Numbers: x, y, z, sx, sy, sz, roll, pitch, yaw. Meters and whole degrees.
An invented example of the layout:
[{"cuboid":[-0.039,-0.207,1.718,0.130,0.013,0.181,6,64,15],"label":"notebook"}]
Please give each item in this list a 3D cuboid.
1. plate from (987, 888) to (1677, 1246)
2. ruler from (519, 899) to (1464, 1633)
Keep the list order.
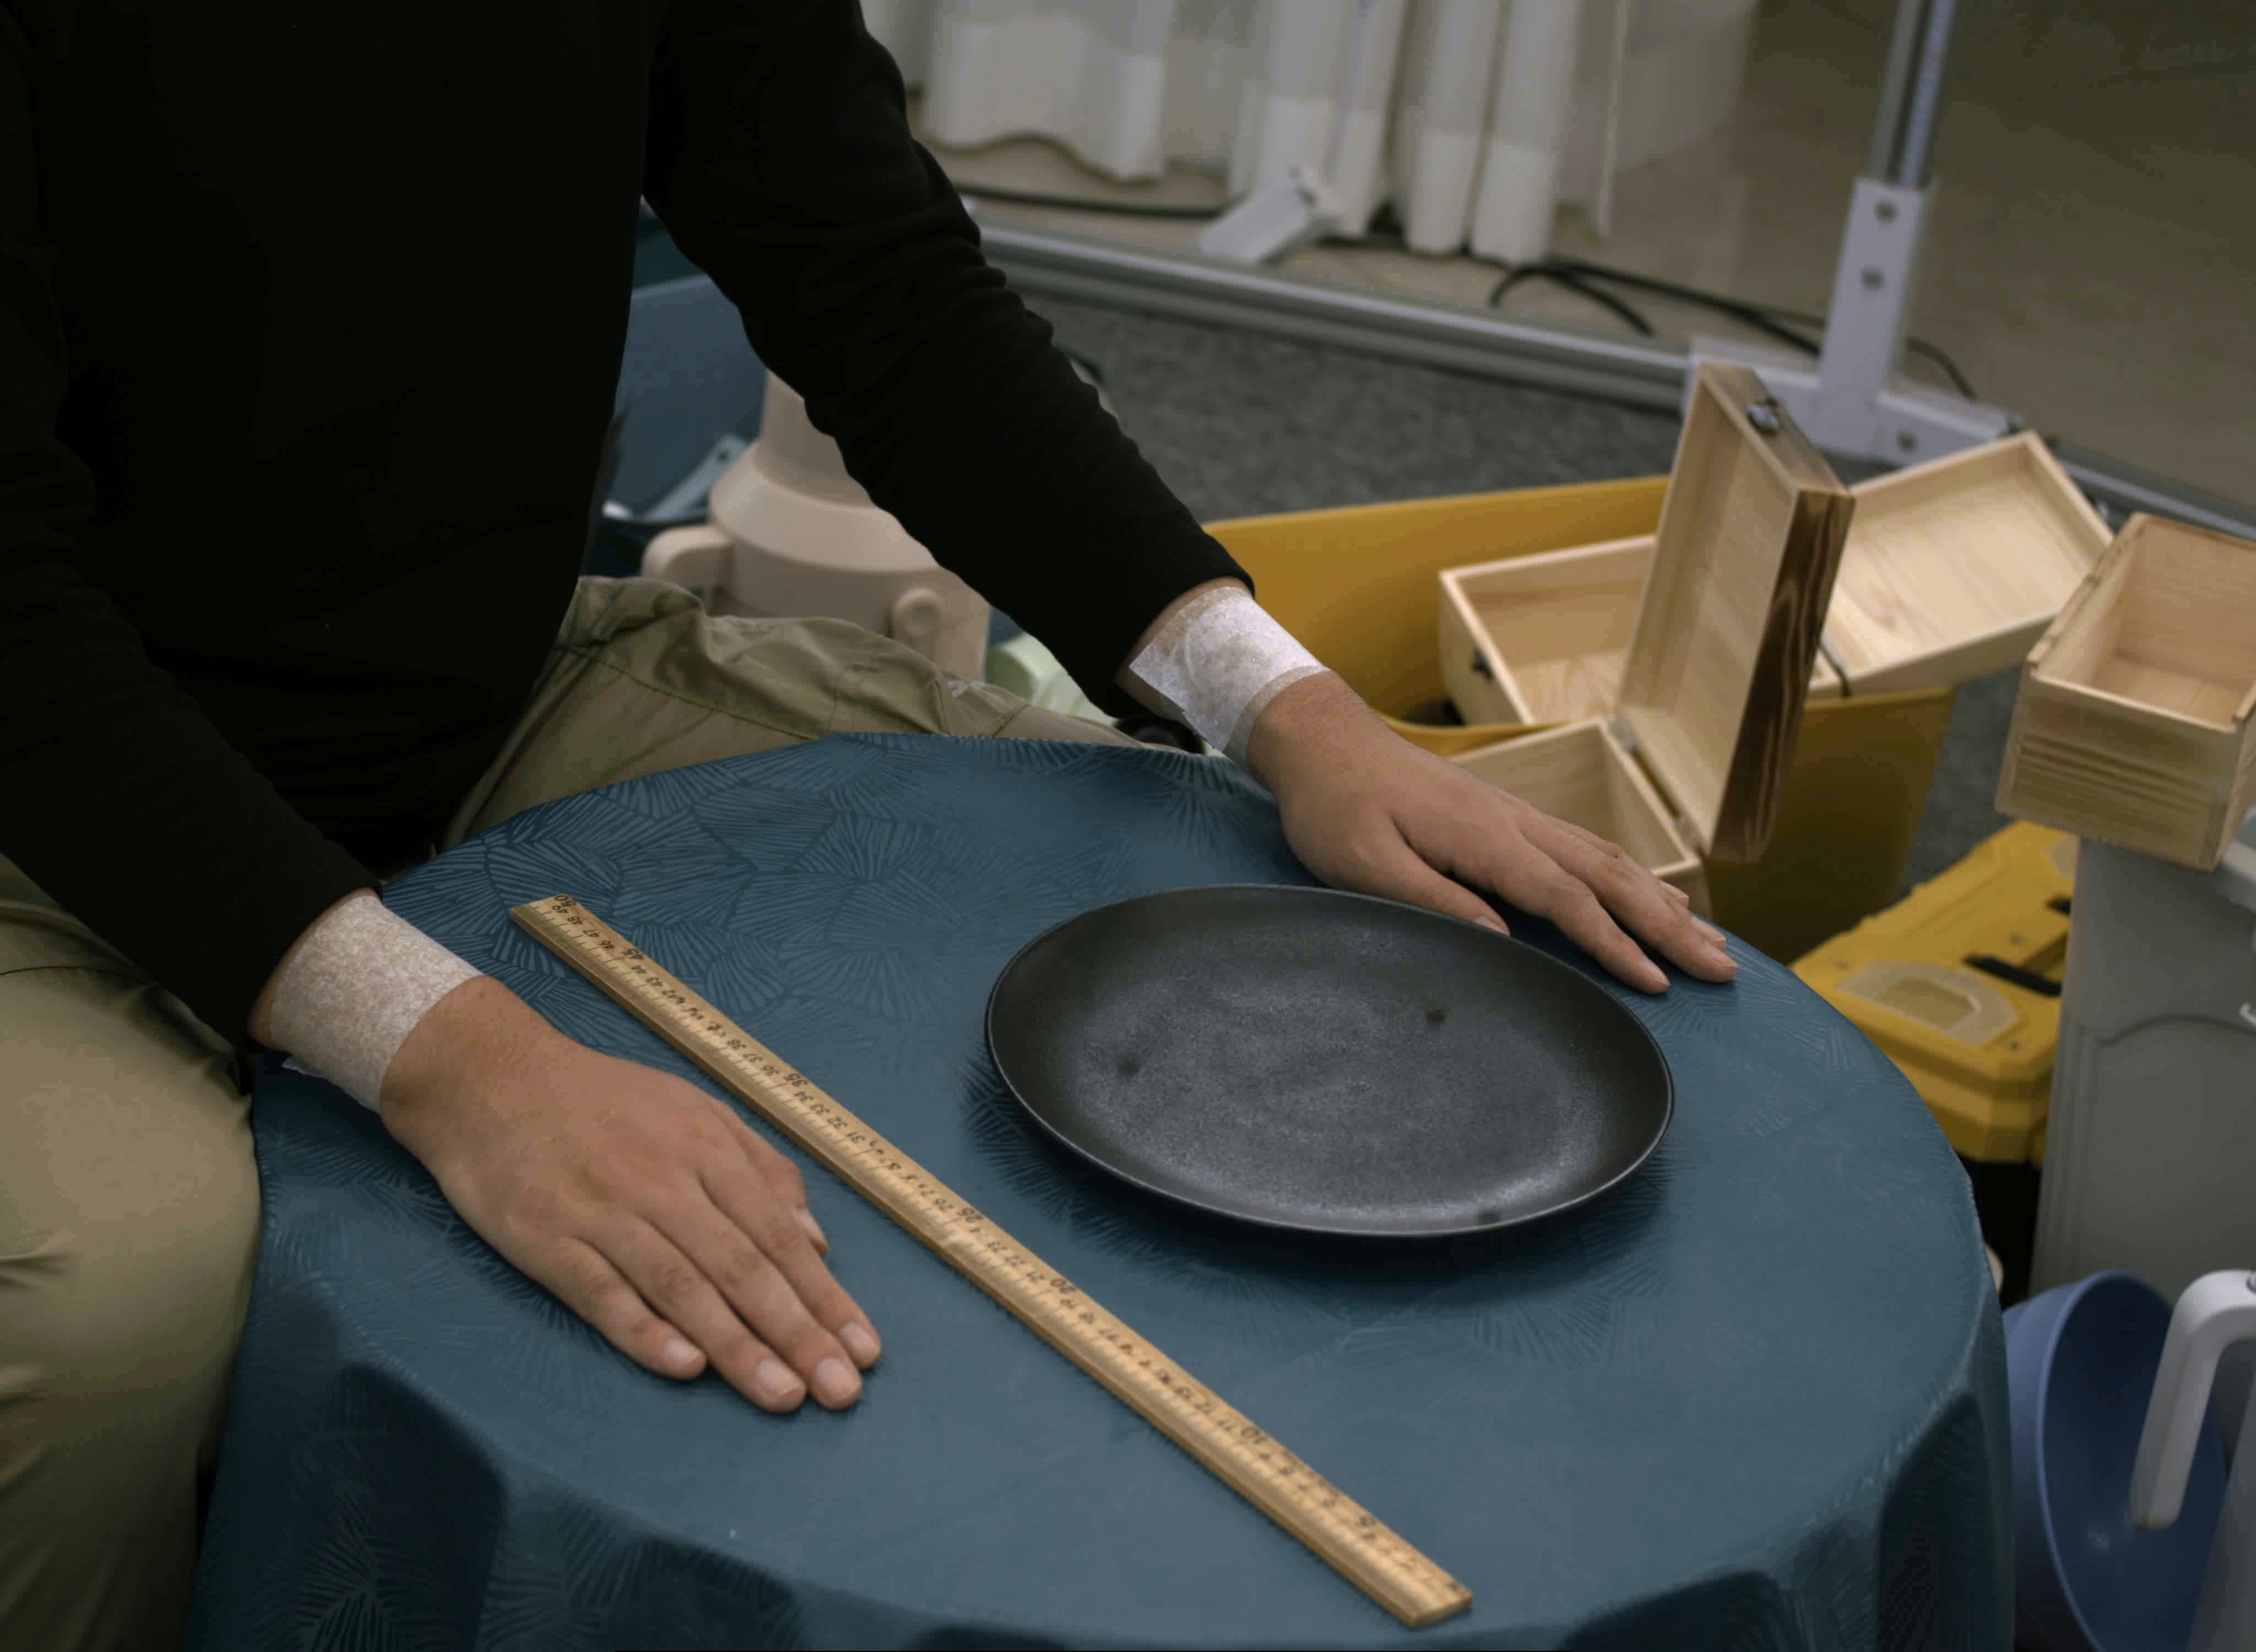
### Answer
[{"cuboid":[0.070,0.087,1.863,0.243,0.023,0.246,5,27,-3],"label":"plate"},{"cuboid":[-0.059,0.133,1.764,0.026,0.006,0.505,-13,32,-36],"label":"ruler"}]
